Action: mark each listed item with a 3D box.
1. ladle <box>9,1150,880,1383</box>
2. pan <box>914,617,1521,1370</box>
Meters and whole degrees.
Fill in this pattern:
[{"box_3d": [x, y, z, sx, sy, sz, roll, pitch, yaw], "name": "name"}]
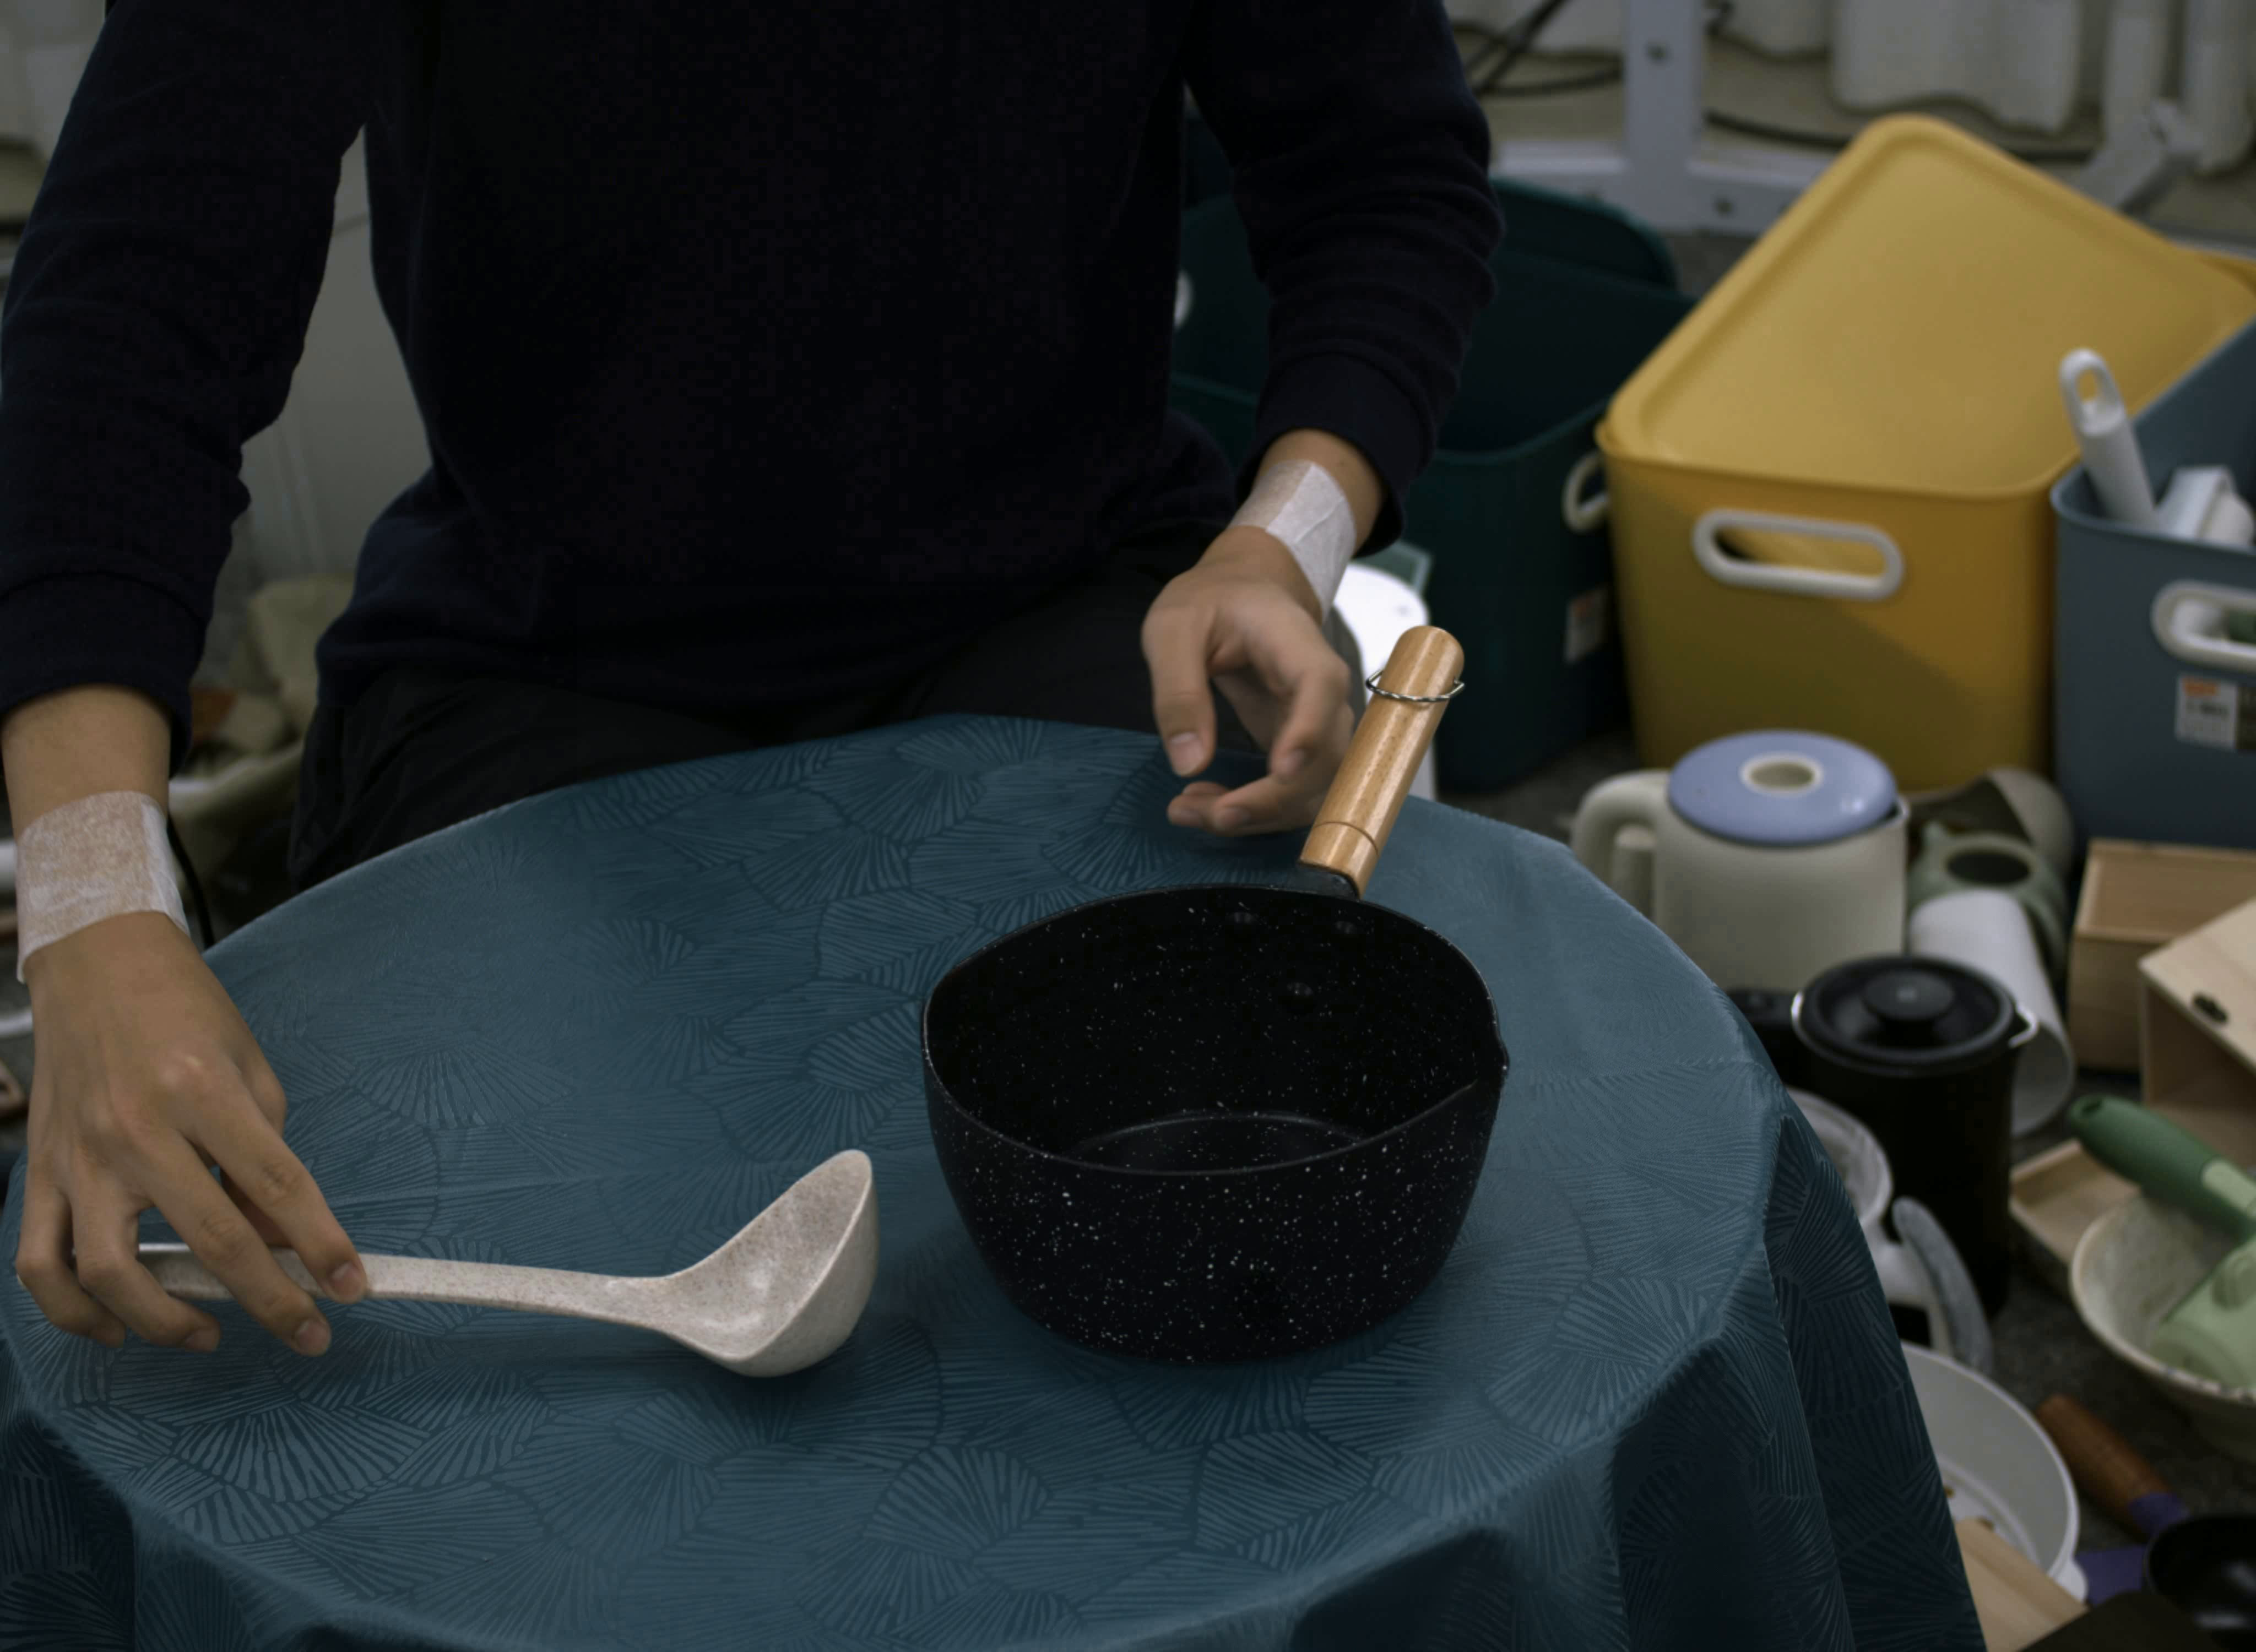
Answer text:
[{"box_3d": [-0.215, 0.130, 1.768, 0.273, 0.068, 0.091, 5, 36, -1], "name": "ladle"}, {"box_3d": [0.052, 0.052, 1.875, 0.206, 0.107, 0.349, 5, 30, 18], "name": "pan"}]
